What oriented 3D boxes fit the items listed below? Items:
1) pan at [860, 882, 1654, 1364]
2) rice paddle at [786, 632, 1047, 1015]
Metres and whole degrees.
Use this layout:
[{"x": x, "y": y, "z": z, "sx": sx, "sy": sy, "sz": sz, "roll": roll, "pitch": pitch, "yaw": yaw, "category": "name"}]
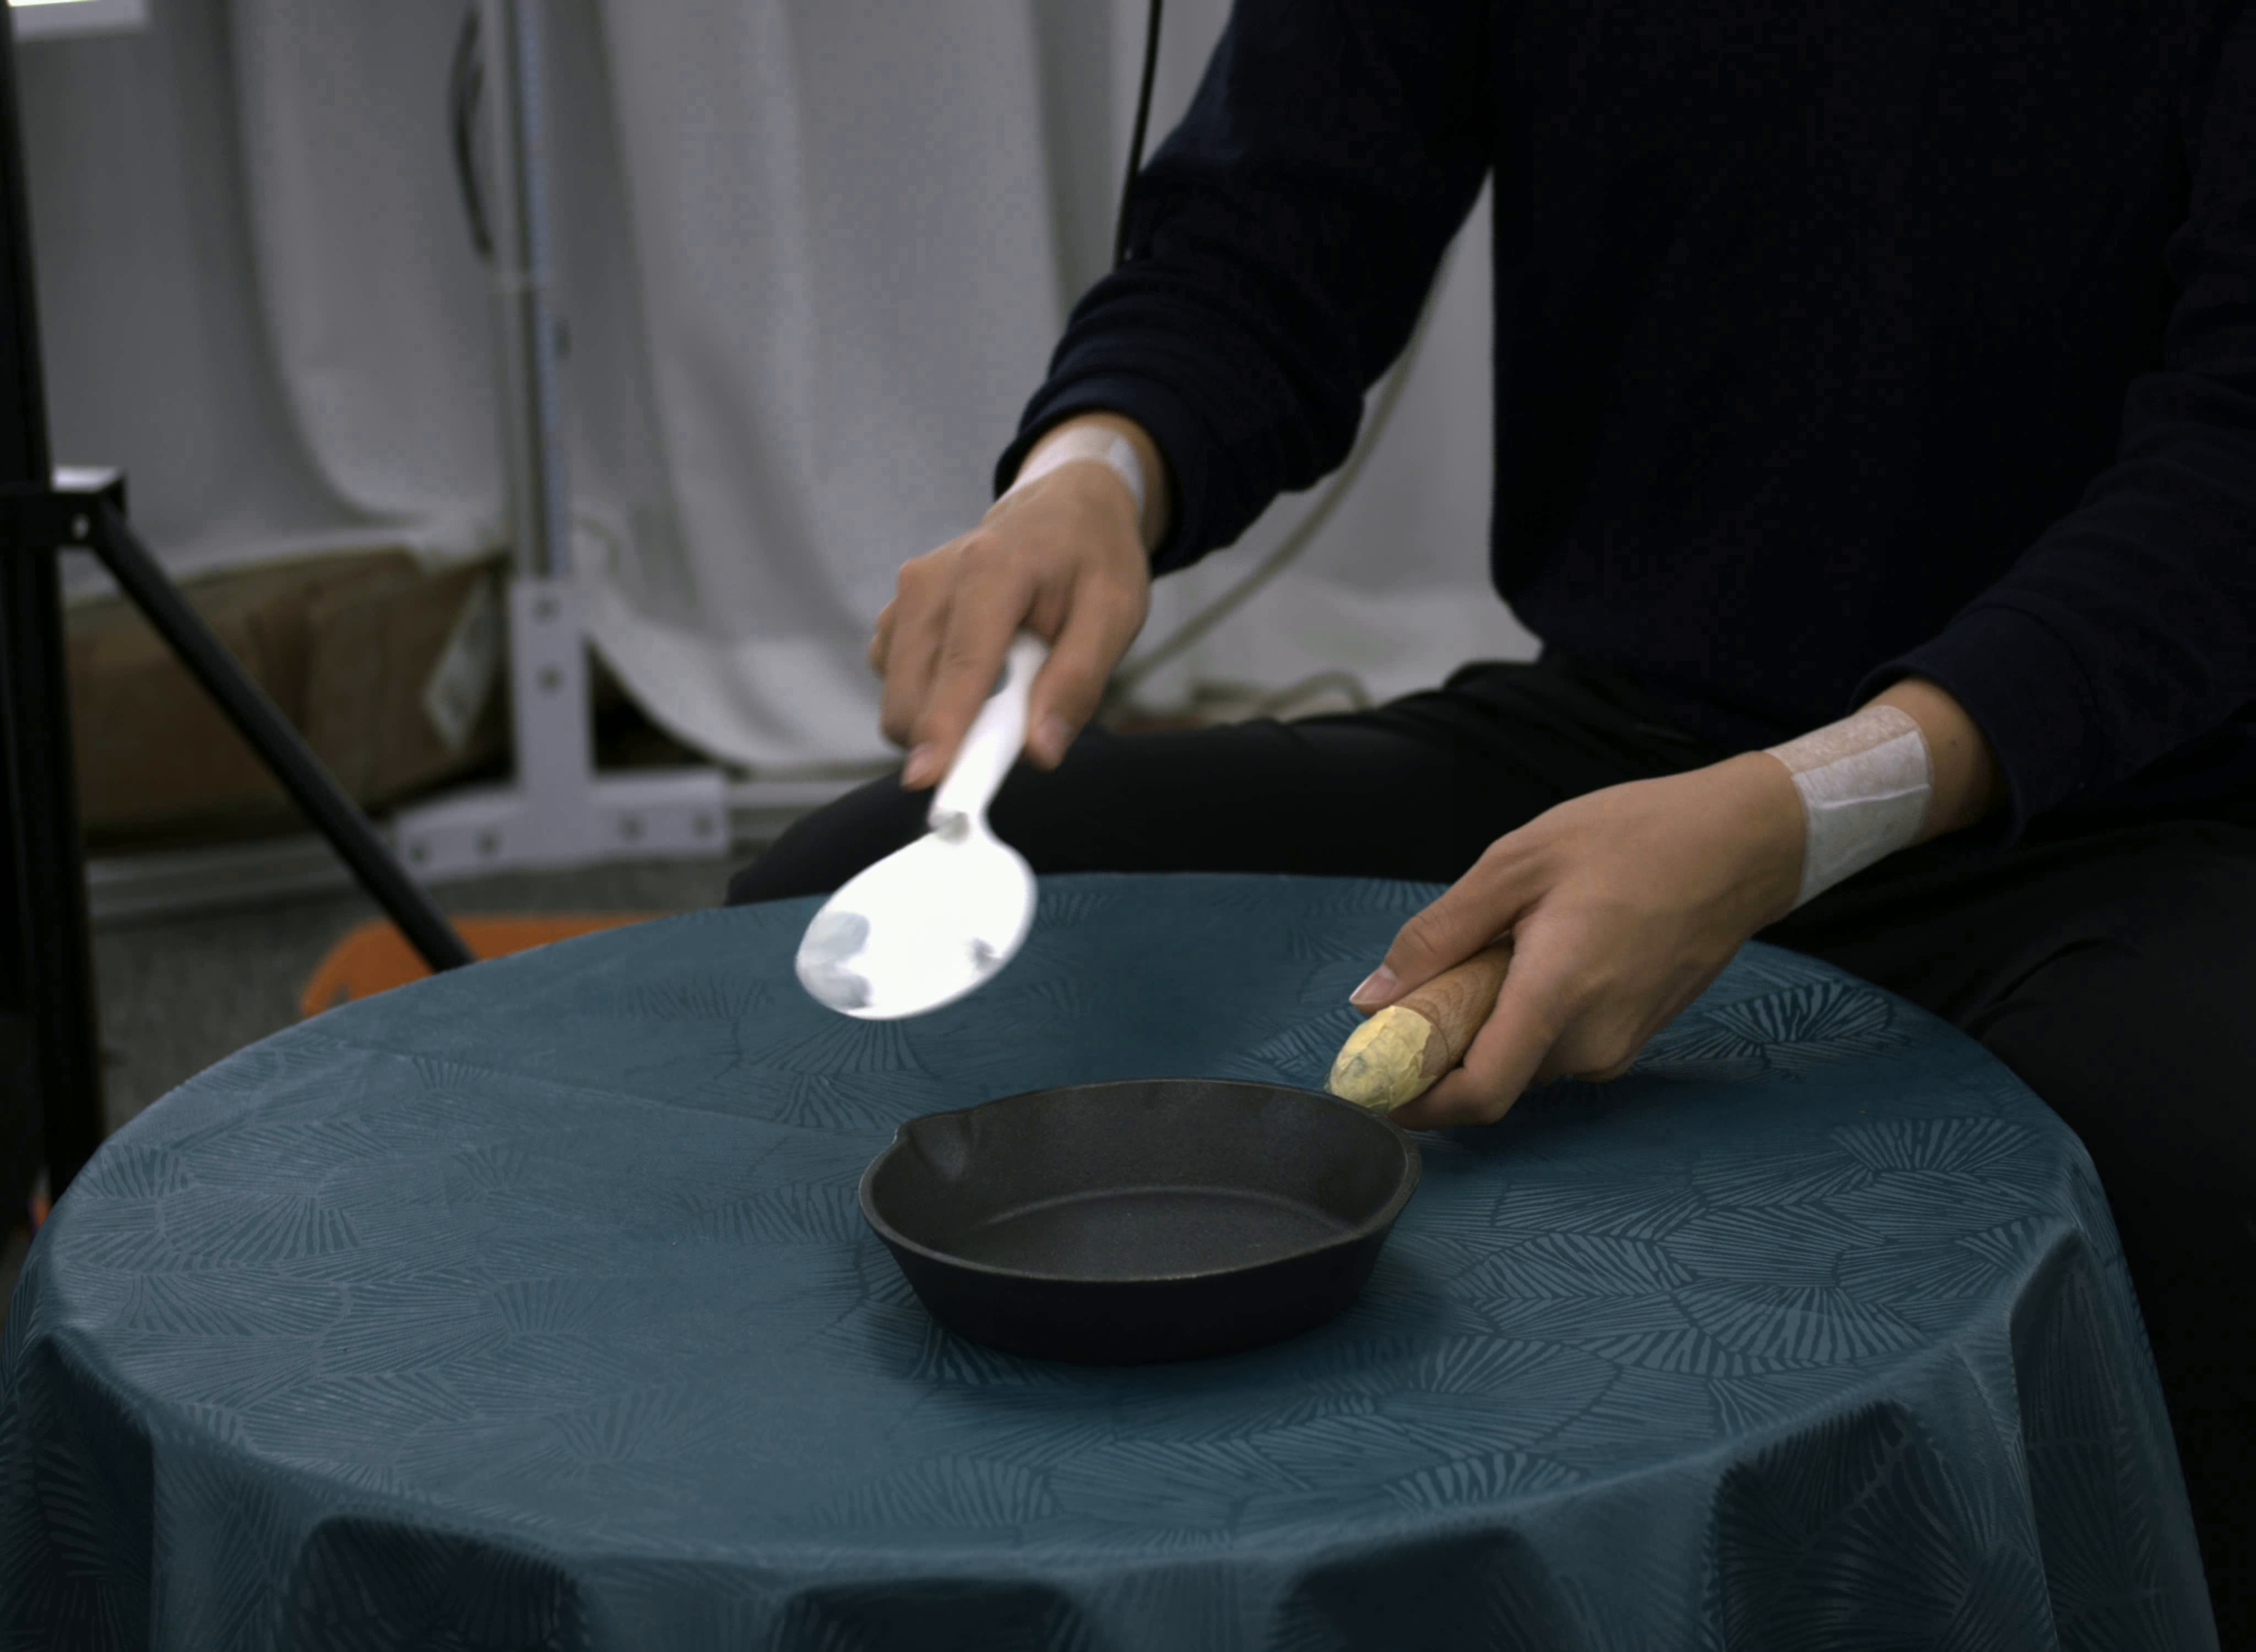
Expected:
[{"x": 0.059, "y": 0.082, "z": 1.535, "sx": 0.172, "sy": 0.049, "sz": 0.317, "roll": 11, "pitch": 24, "yaw": 40, "category": "pan"}, {"x": -0.057, "y": 0.001, "z": 1.618, "sx": 0.069, "sy": 0.029, "sz": 0.205, "roll": -9, "pitch": 27, "yaw": 16, "category": "rice paddle"}]
